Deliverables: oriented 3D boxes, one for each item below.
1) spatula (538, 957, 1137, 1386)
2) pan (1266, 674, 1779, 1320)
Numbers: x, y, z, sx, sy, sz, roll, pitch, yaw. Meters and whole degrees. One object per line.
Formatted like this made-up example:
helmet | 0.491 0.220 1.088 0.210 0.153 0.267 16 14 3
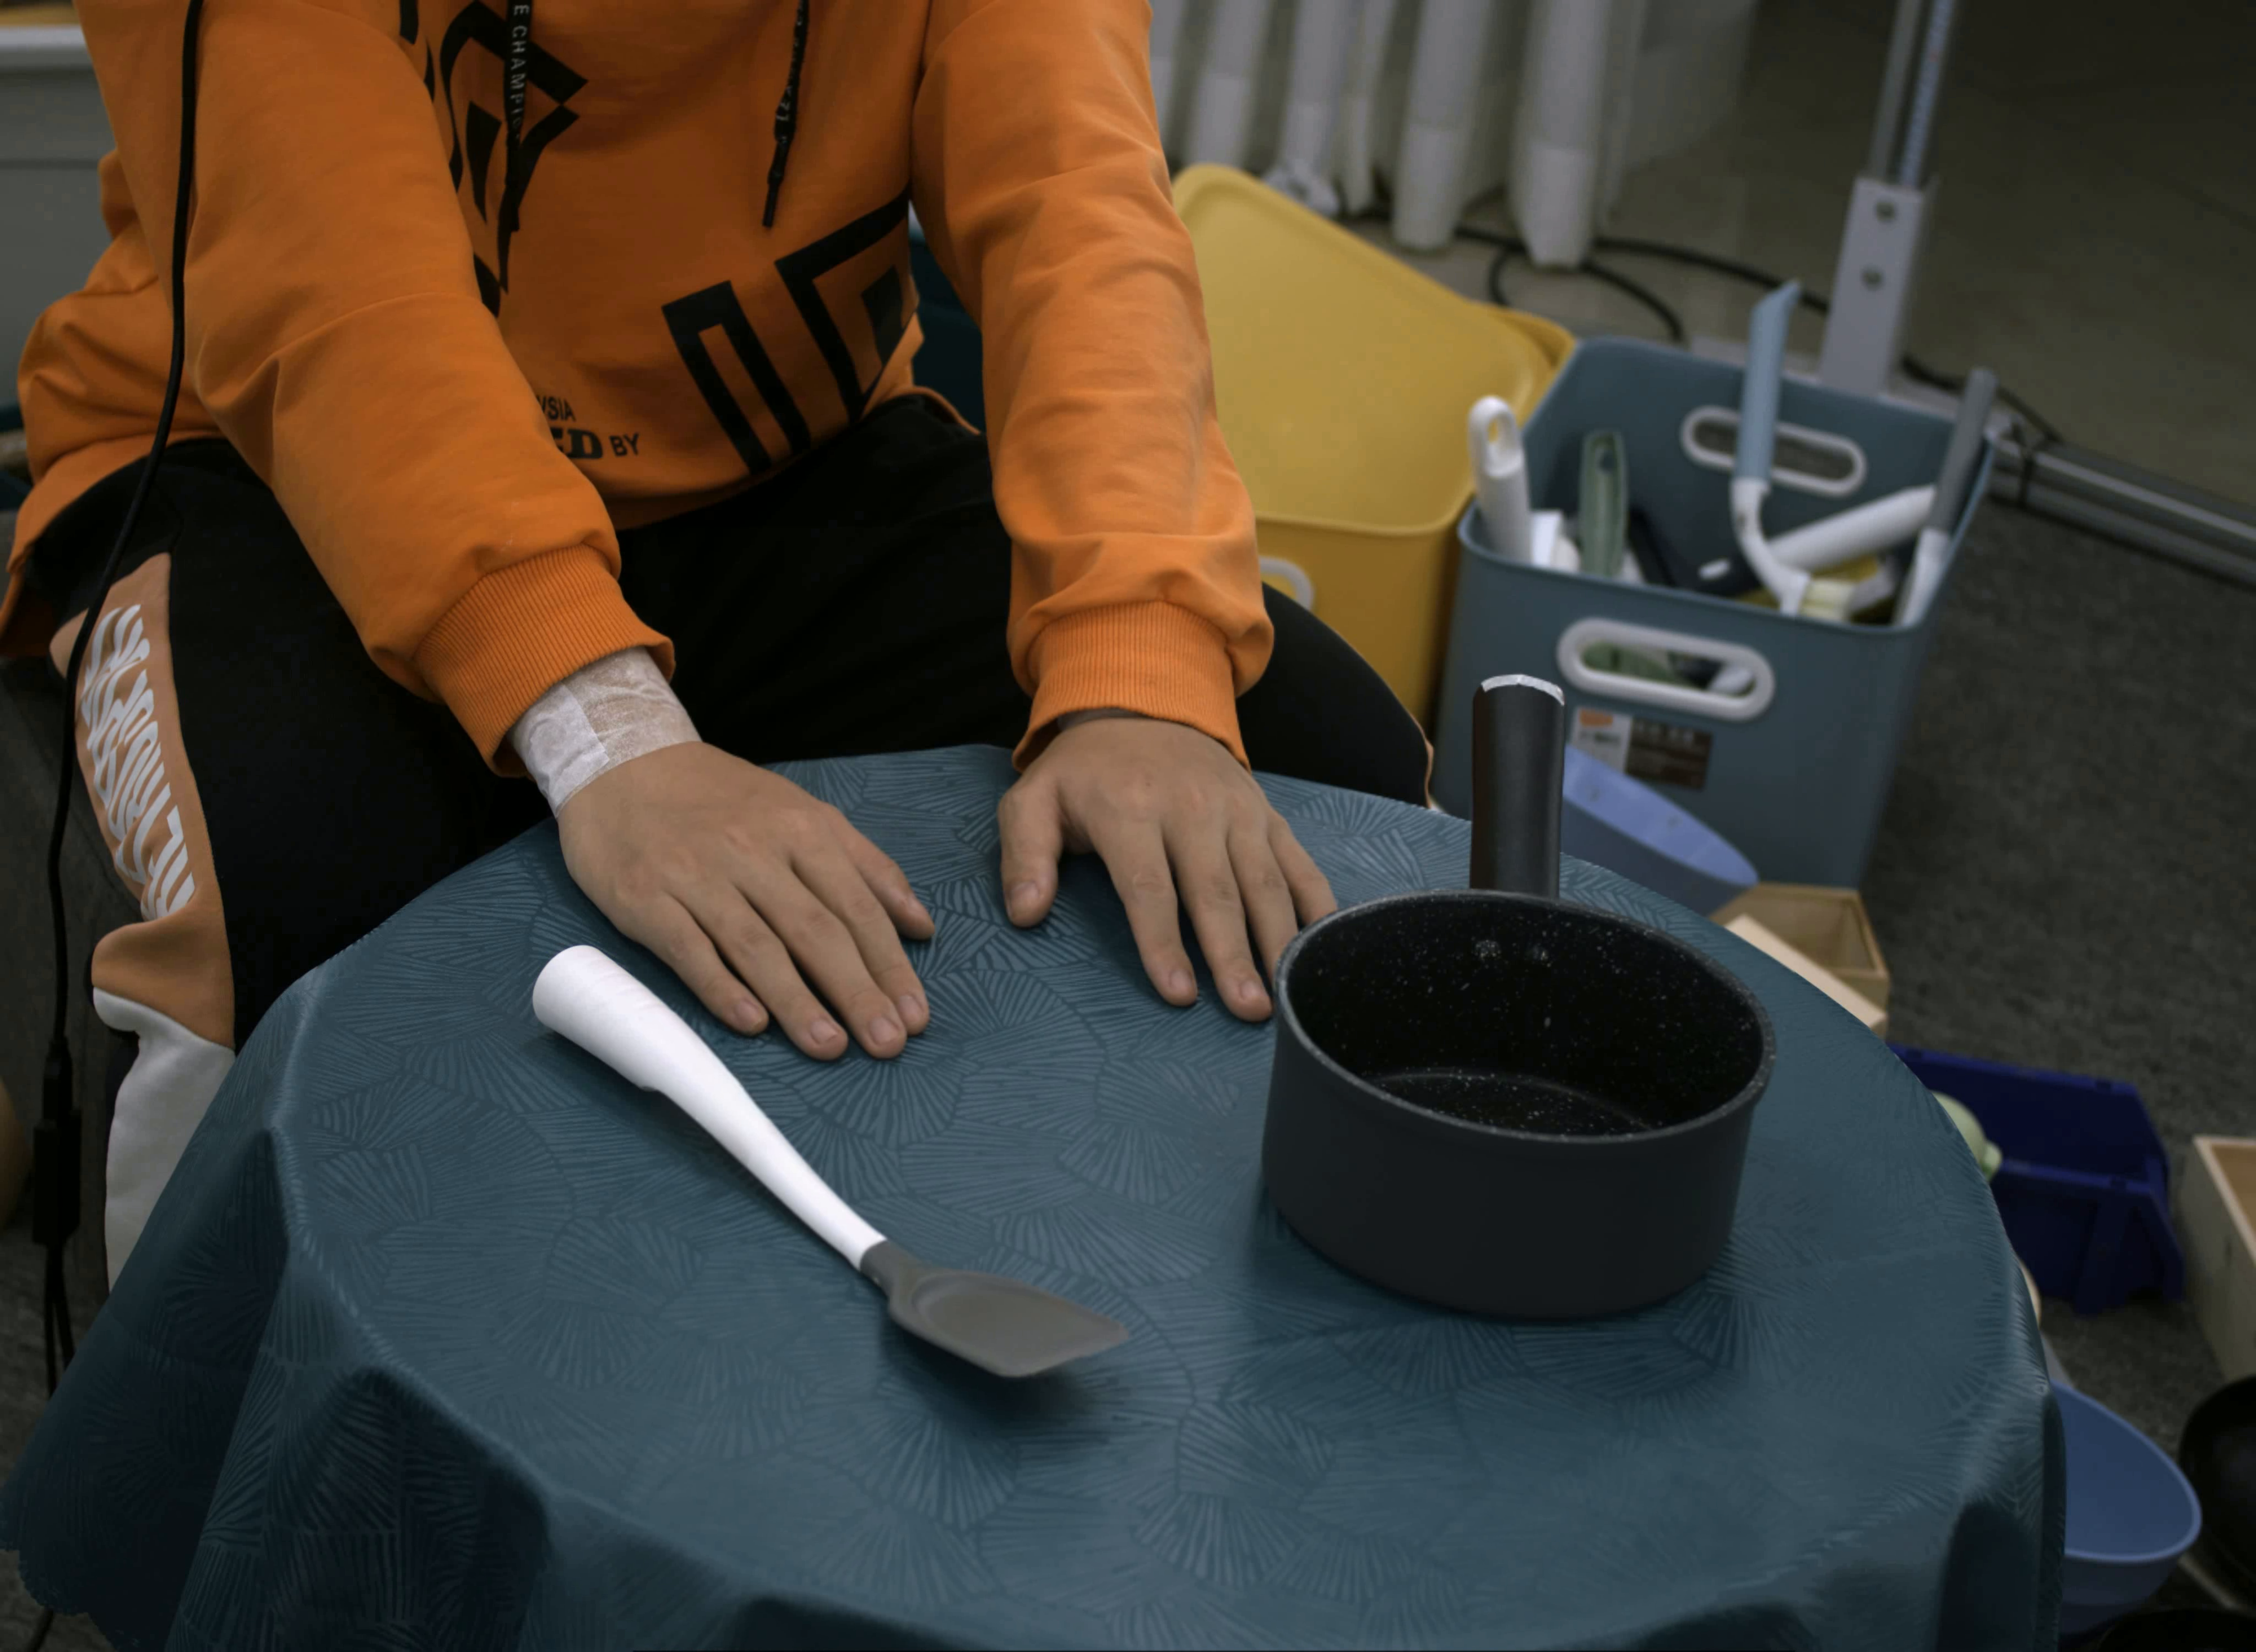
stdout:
spatula | -0.104 0.117 1.757 0.058 0.032 0.290 -11 31 -38
pan | 0.138 0.055 1.873 0.171 0.086 0.330 8 29 3
